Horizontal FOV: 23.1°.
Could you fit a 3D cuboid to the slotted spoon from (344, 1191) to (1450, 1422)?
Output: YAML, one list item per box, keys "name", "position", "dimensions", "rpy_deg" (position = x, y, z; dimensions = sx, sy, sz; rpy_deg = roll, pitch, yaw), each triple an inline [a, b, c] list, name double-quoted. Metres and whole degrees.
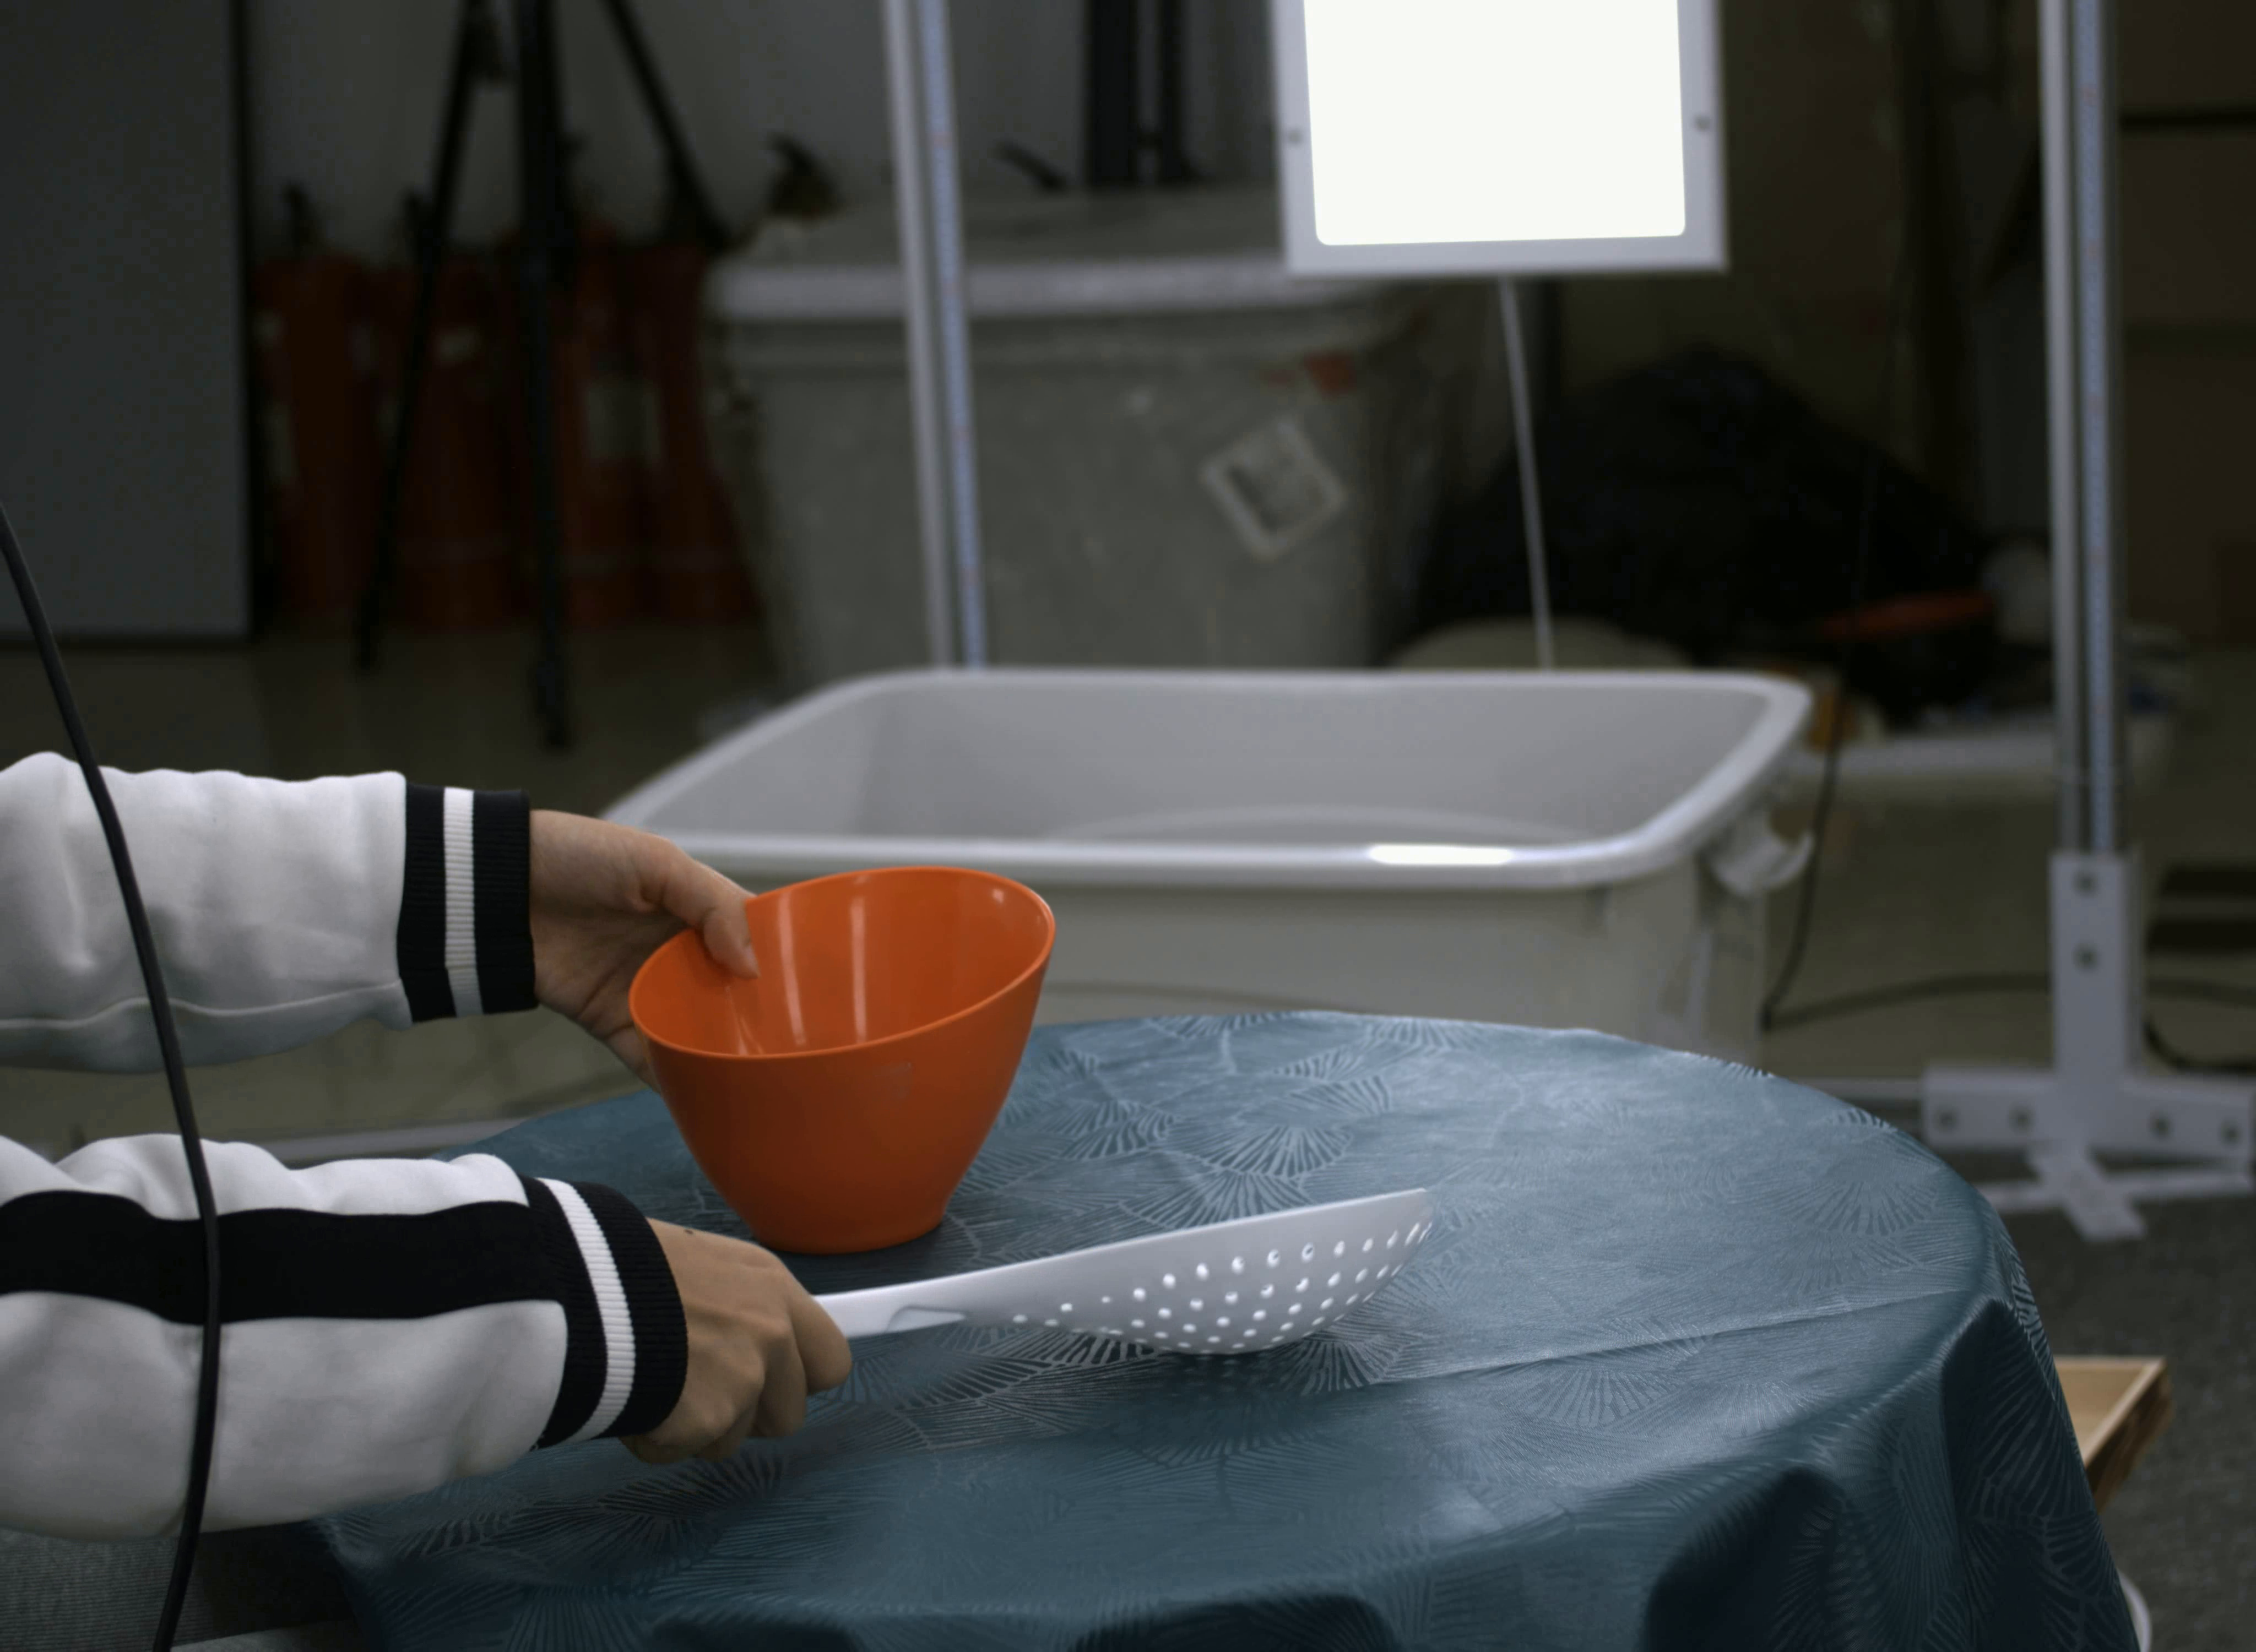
- name: "slotted spoon"
  position: [-0.066, 0.146, 1.684]
  dimensions: [0.344, 0.046, 0.138]
  rpy_deg: [-3, -7, -16]

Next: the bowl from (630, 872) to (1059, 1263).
- name: "bowl"
  position: [-0.094, 0.087, 1.887]
  dimensions: [0.147, 0.105, 0.148]
  rpy_deg: [-5, 16, 0]
